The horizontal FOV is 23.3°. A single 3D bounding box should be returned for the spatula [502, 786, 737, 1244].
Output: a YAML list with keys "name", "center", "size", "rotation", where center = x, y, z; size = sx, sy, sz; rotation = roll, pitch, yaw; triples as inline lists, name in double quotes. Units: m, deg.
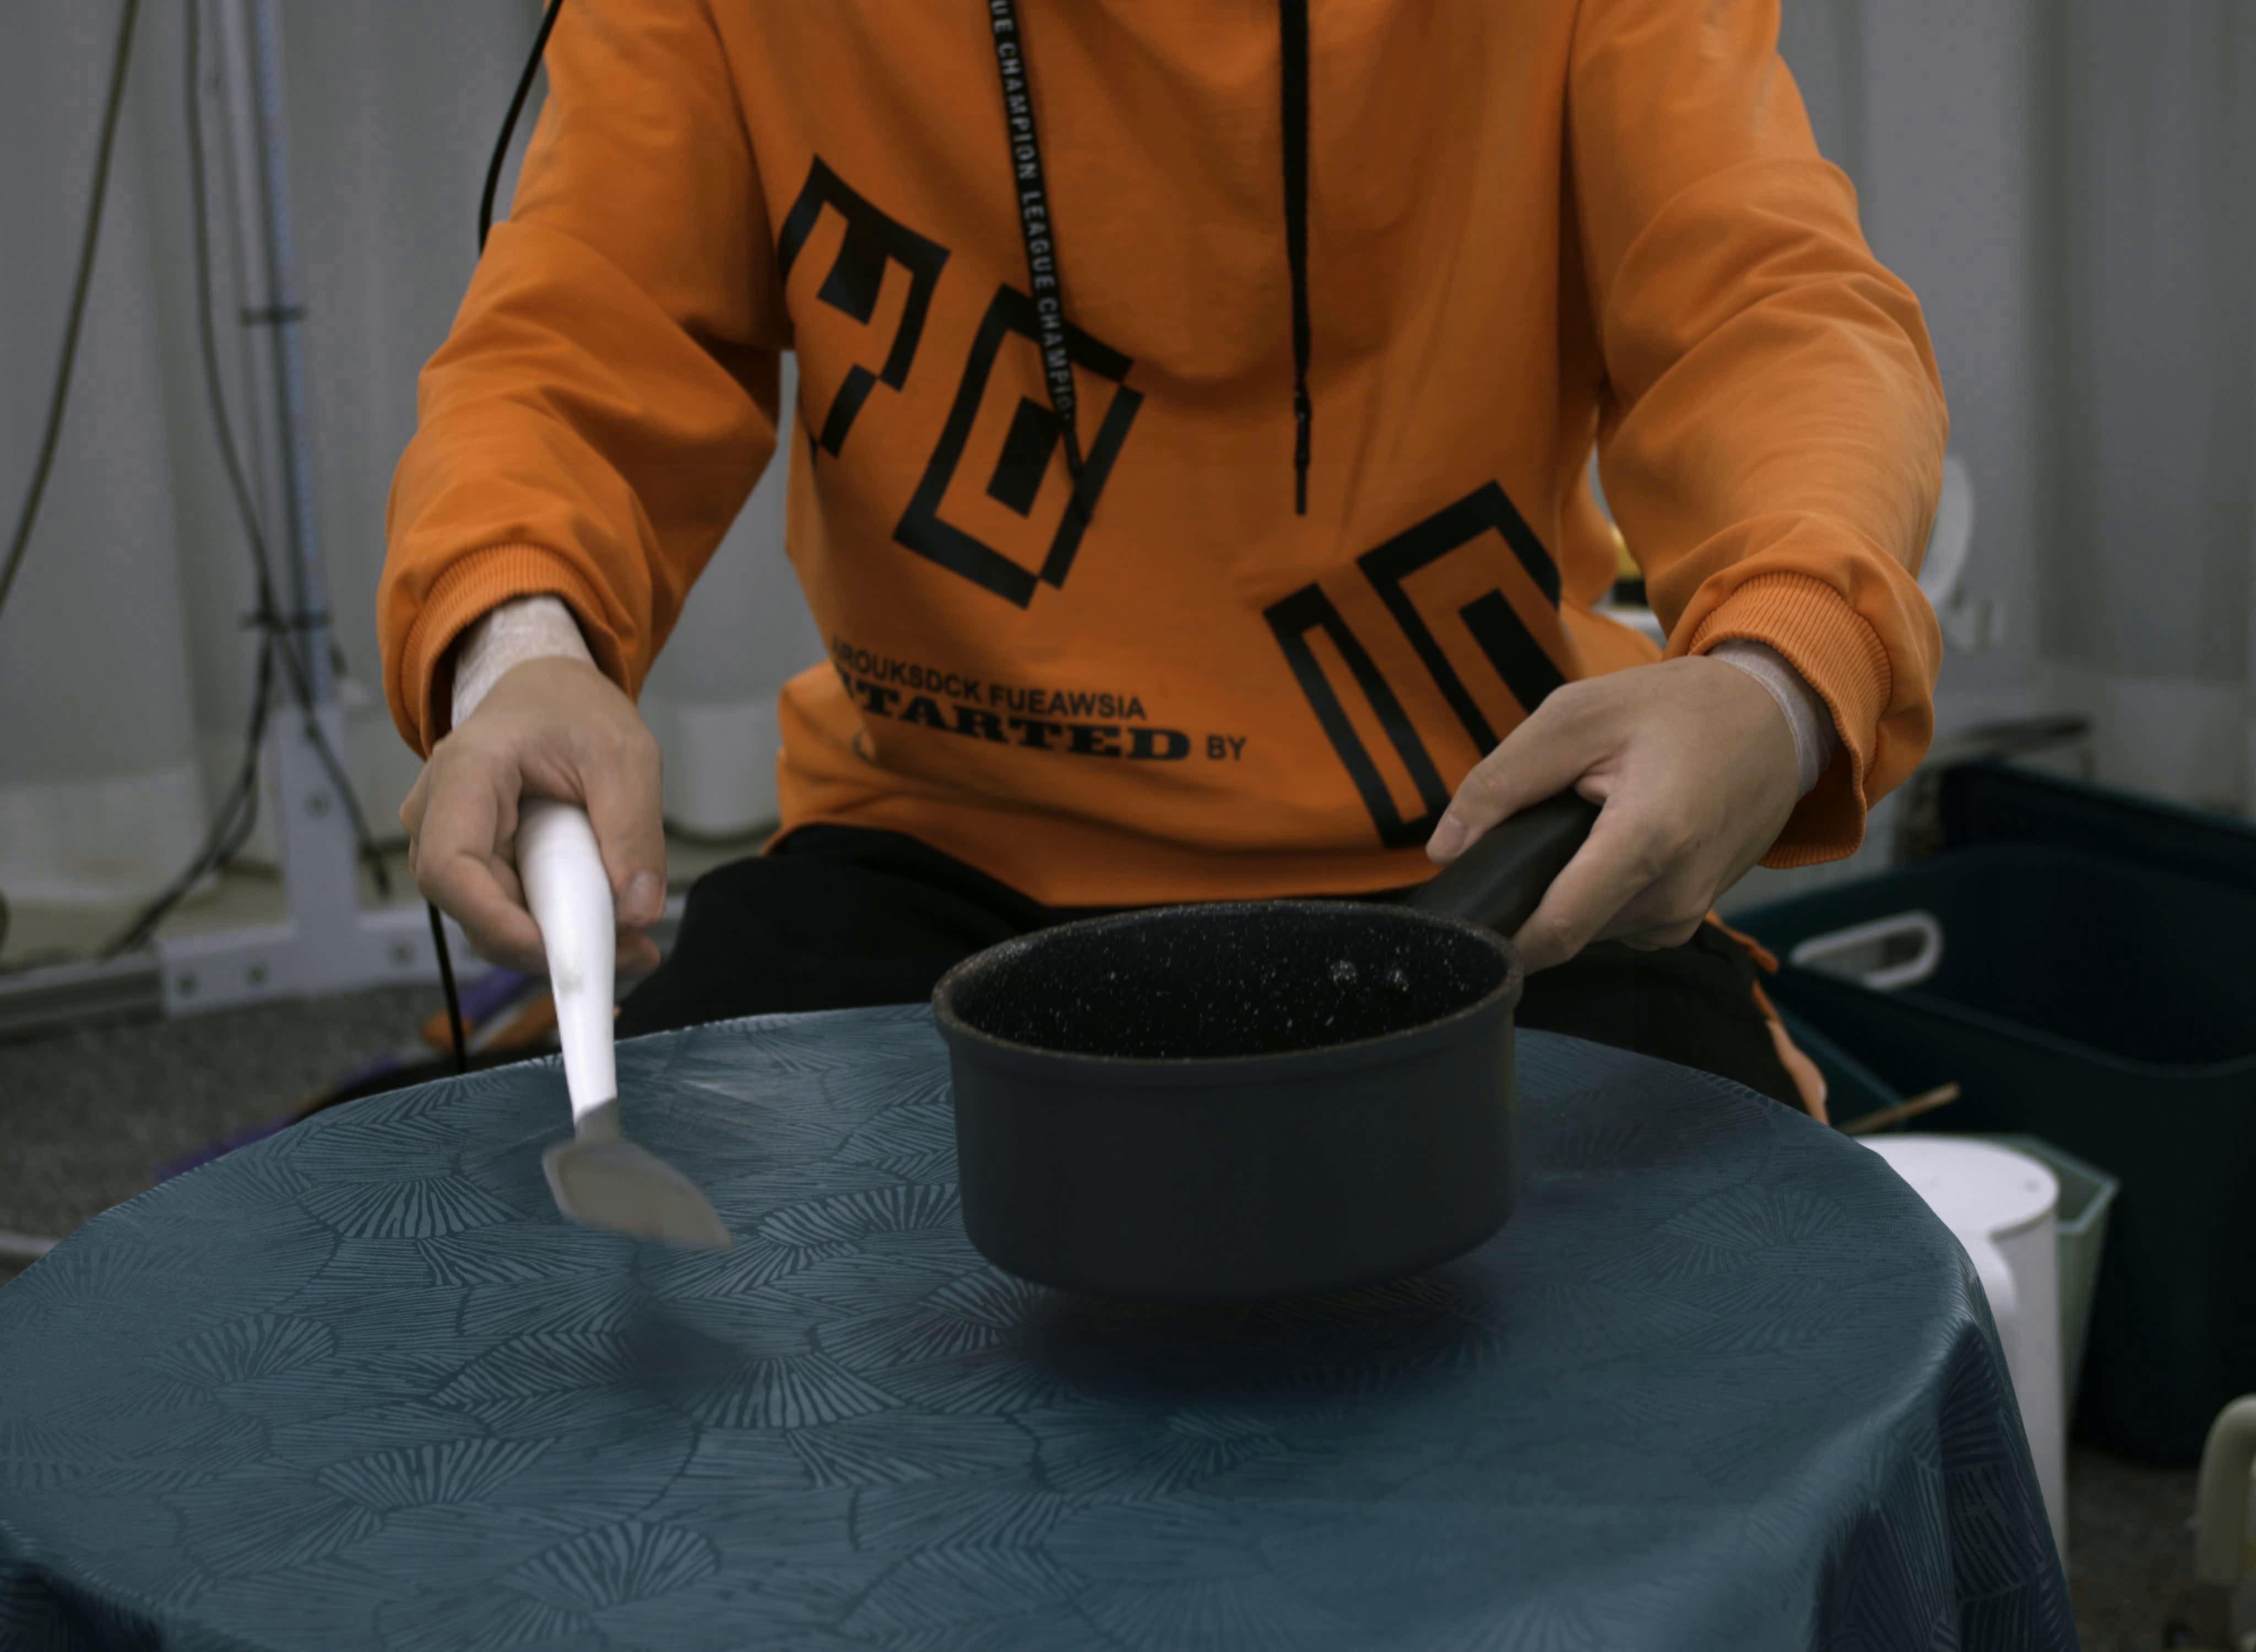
- name: "spatula"
  center: [-0.163, 0.062, 1.671]
  size: [0.058, 0.032, 0.291]
  rotation: [16, 20, -18]

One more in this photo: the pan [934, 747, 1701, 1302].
- name: "pan"
  center: [0.077, 0.056, 1.642]
  size: [0.172, 0.086, 0.329]
  rotation: [7, 19, 35]
